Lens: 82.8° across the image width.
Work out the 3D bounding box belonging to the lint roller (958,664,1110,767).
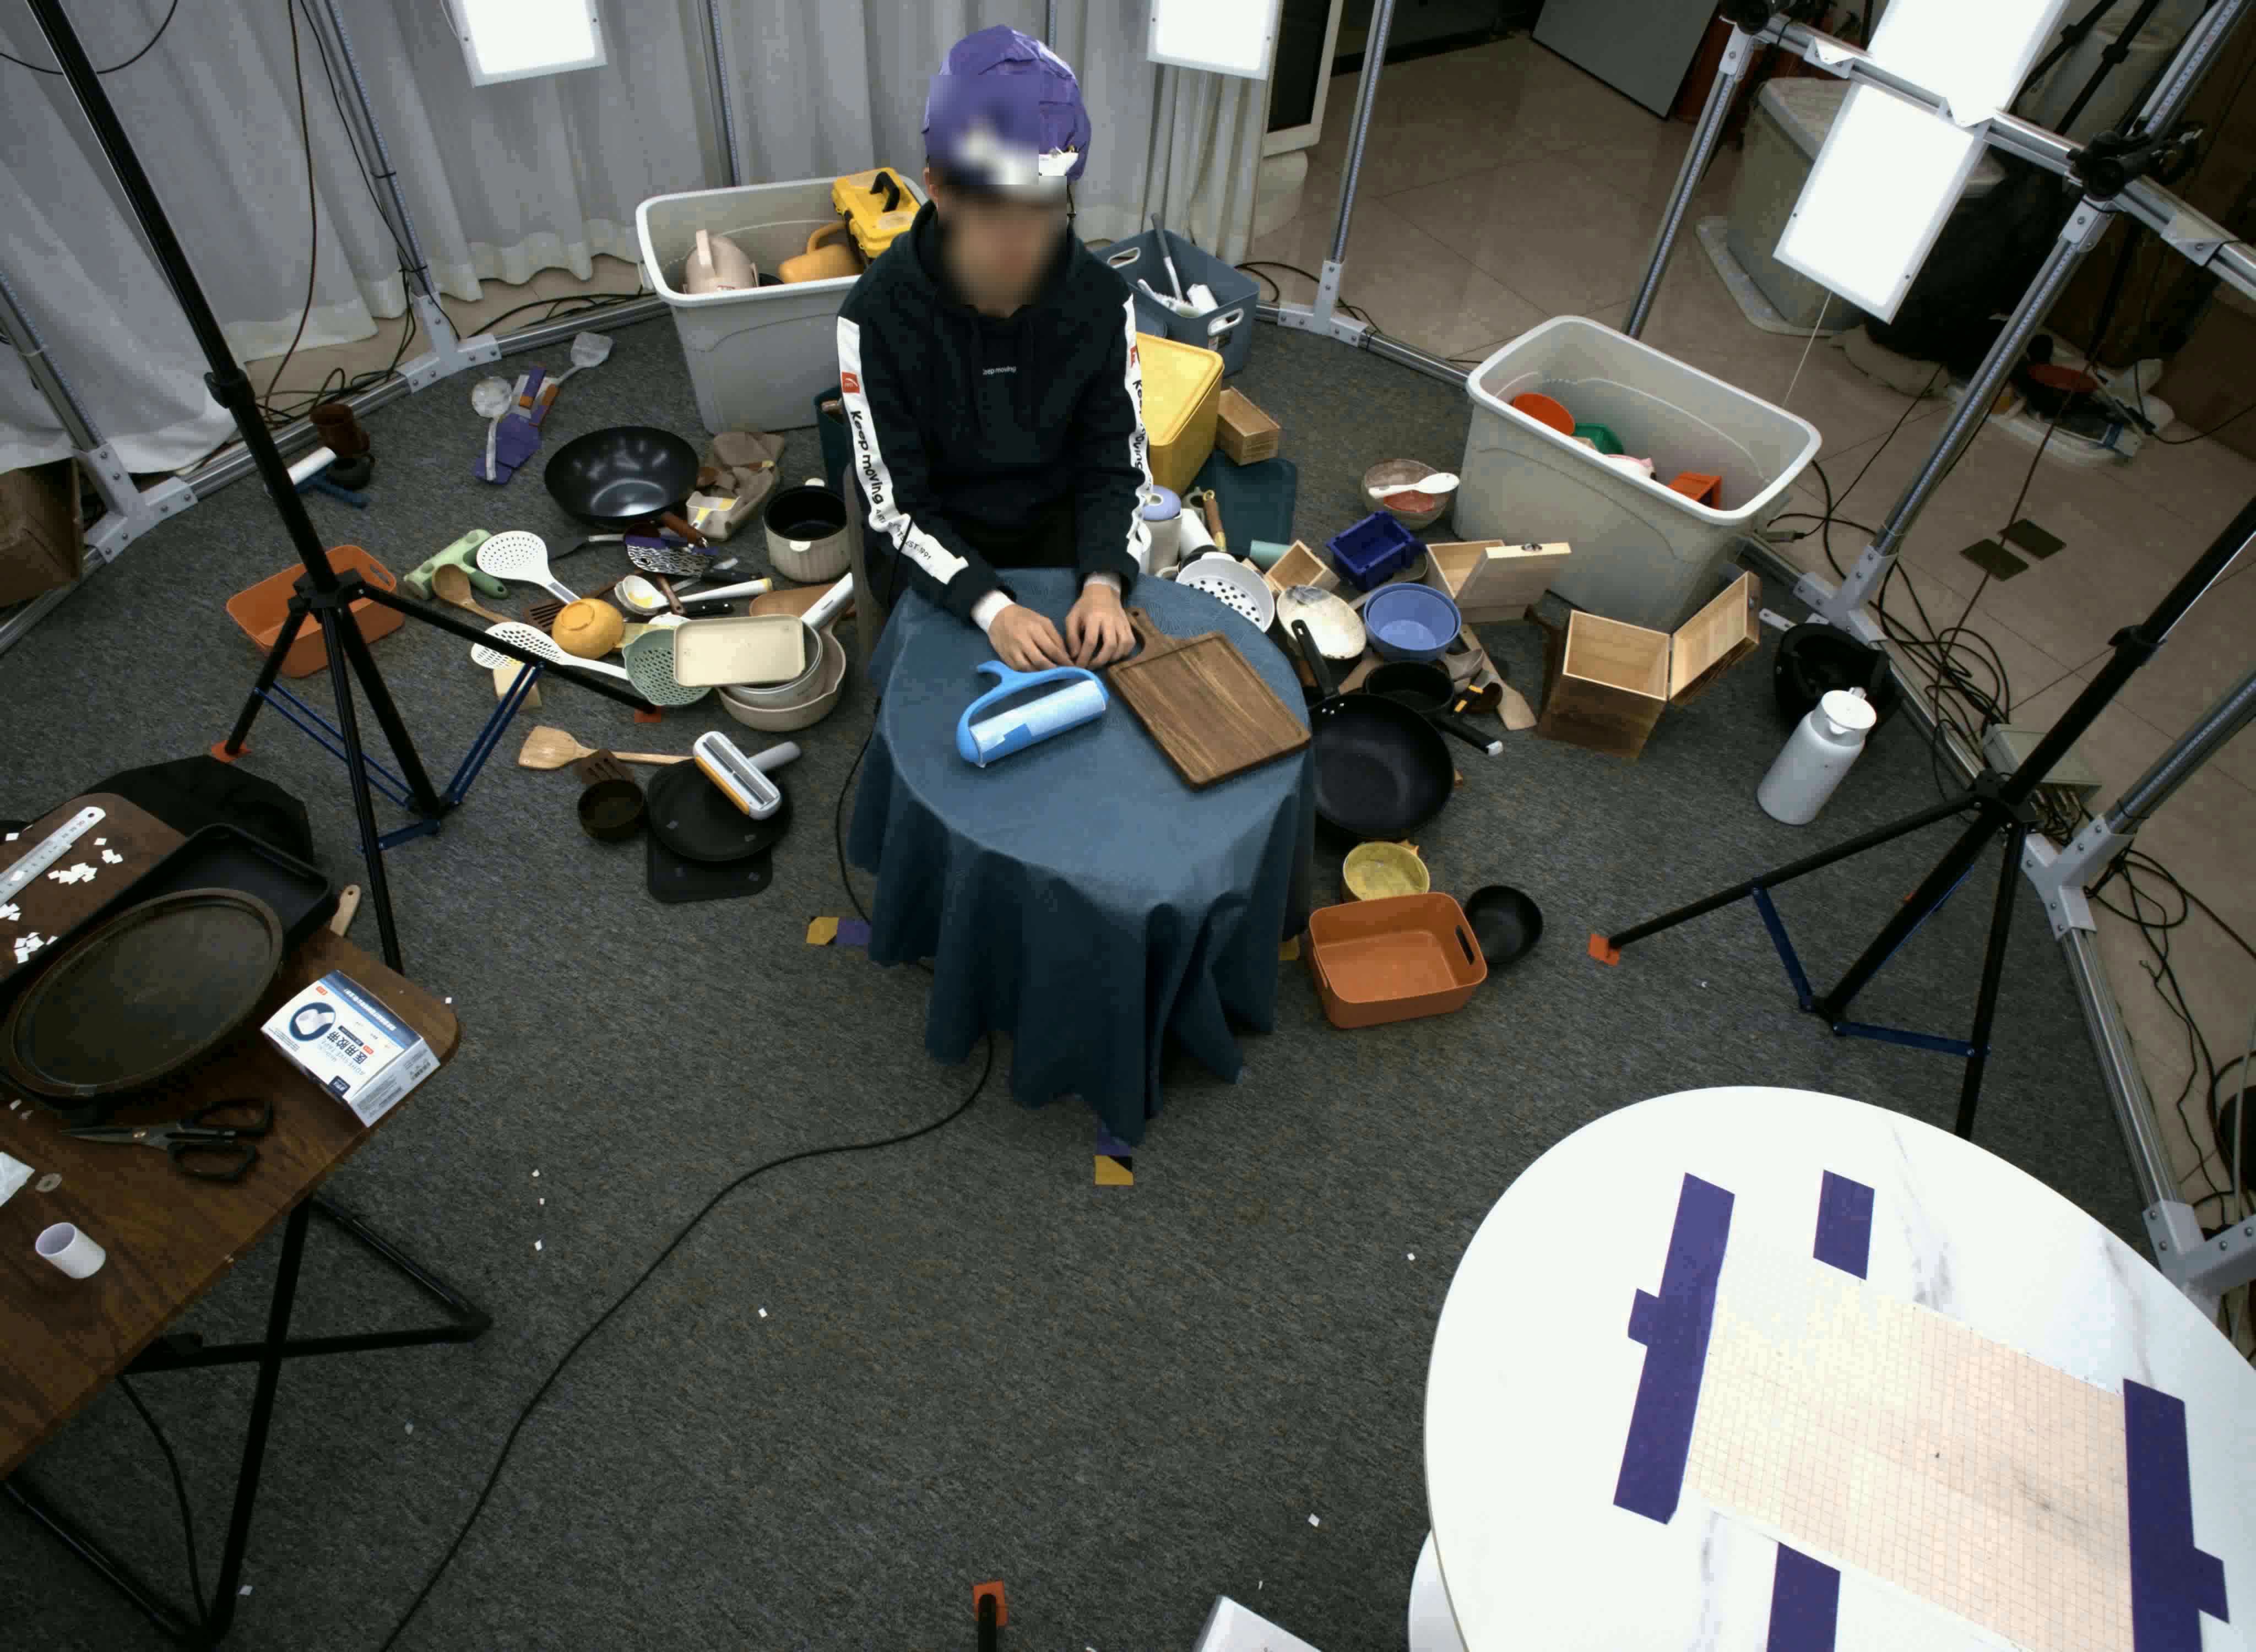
[{"bbox_3d":[-0.159,-0.181,1.778,0.230,0.066,0.184,-28,57,-23],"label":"lint roller"}]

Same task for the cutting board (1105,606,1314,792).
[{"bbox_3d":[0.088,-0.203,1.835,0.201,0.022,0.359,-21,54,-21],"label":"cutting board"}]
